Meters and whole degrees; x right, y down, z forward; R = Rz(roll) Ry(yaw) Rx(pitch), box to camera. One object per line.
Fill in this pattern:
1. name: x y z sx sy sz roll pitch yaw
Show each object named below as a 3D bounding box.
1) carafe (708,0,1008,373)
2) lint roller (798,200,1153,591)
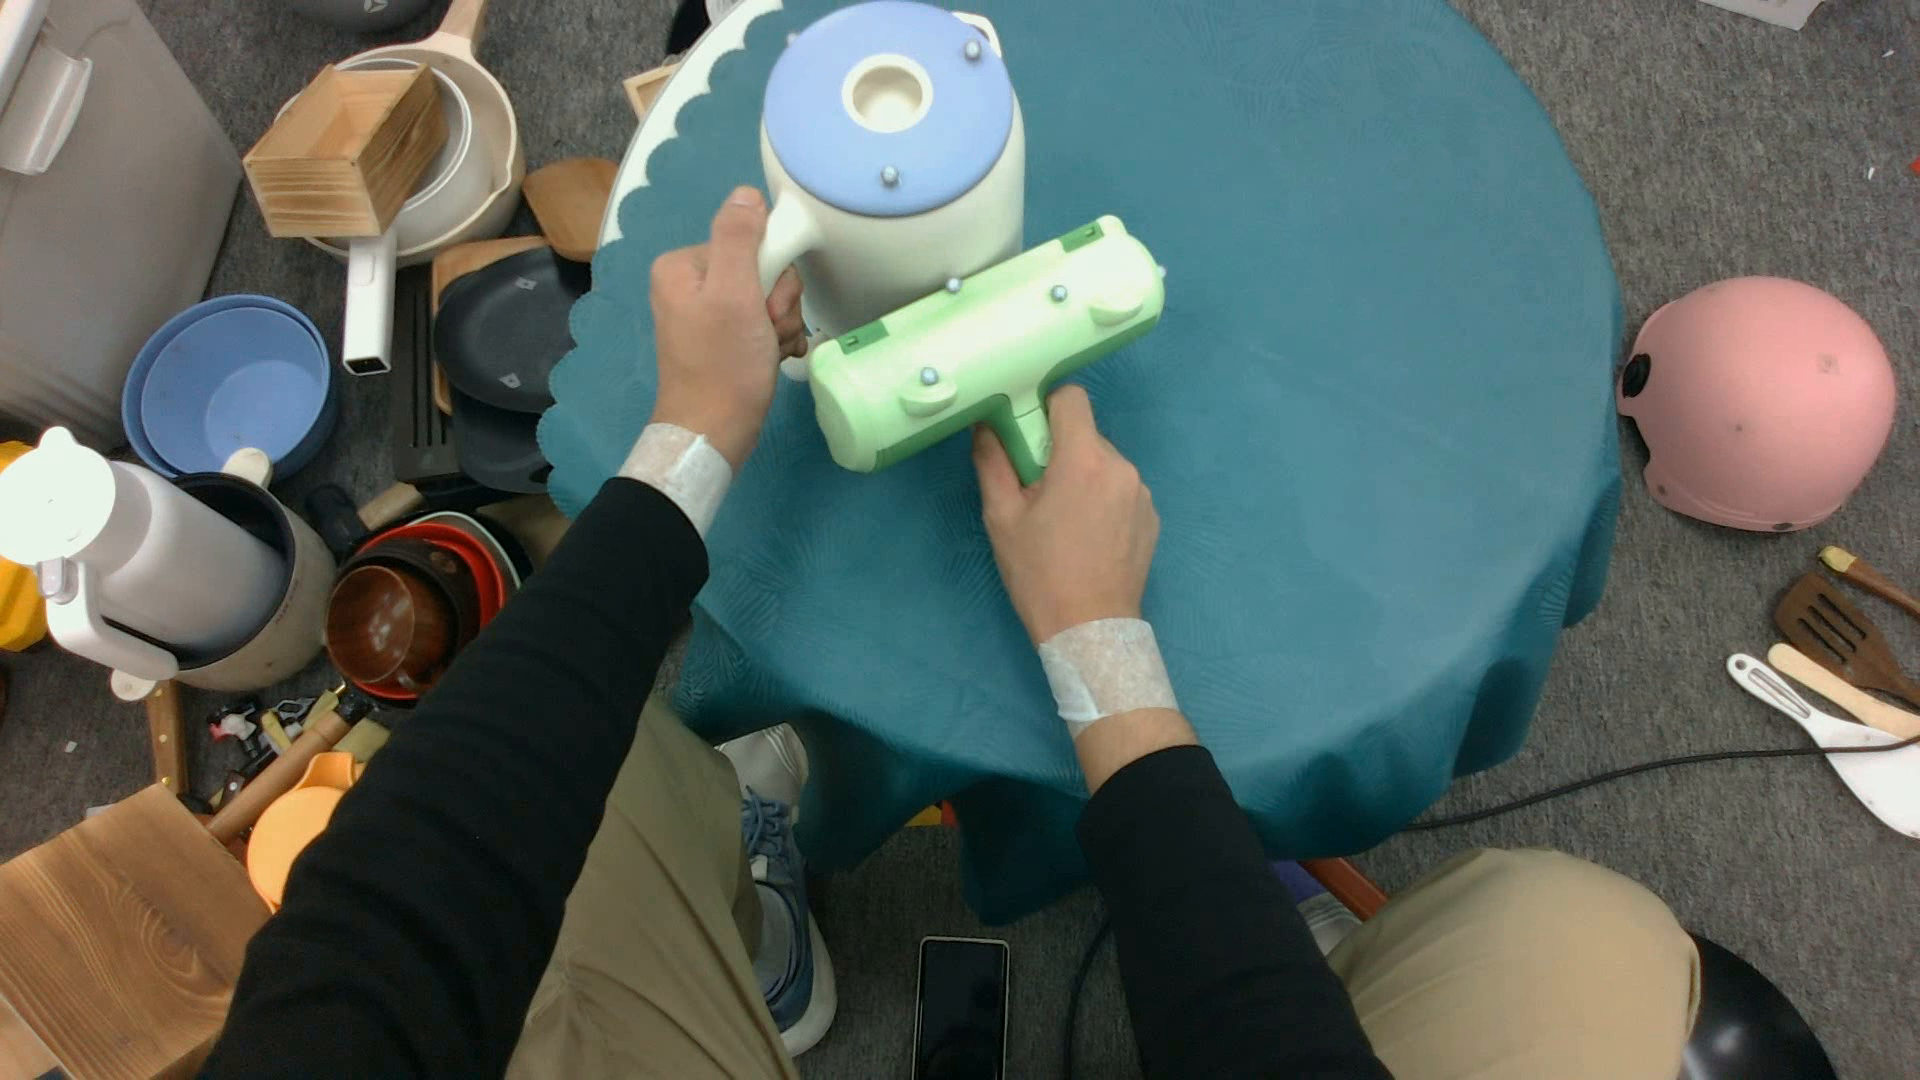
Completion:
1. carafe: -0.059 -0.166 0.723 0.132 0.182 0.191 42 78 13
2. lint roller: 0.037 -0.057 0.698 0.199 0.082 0.183 -29 99 -24
